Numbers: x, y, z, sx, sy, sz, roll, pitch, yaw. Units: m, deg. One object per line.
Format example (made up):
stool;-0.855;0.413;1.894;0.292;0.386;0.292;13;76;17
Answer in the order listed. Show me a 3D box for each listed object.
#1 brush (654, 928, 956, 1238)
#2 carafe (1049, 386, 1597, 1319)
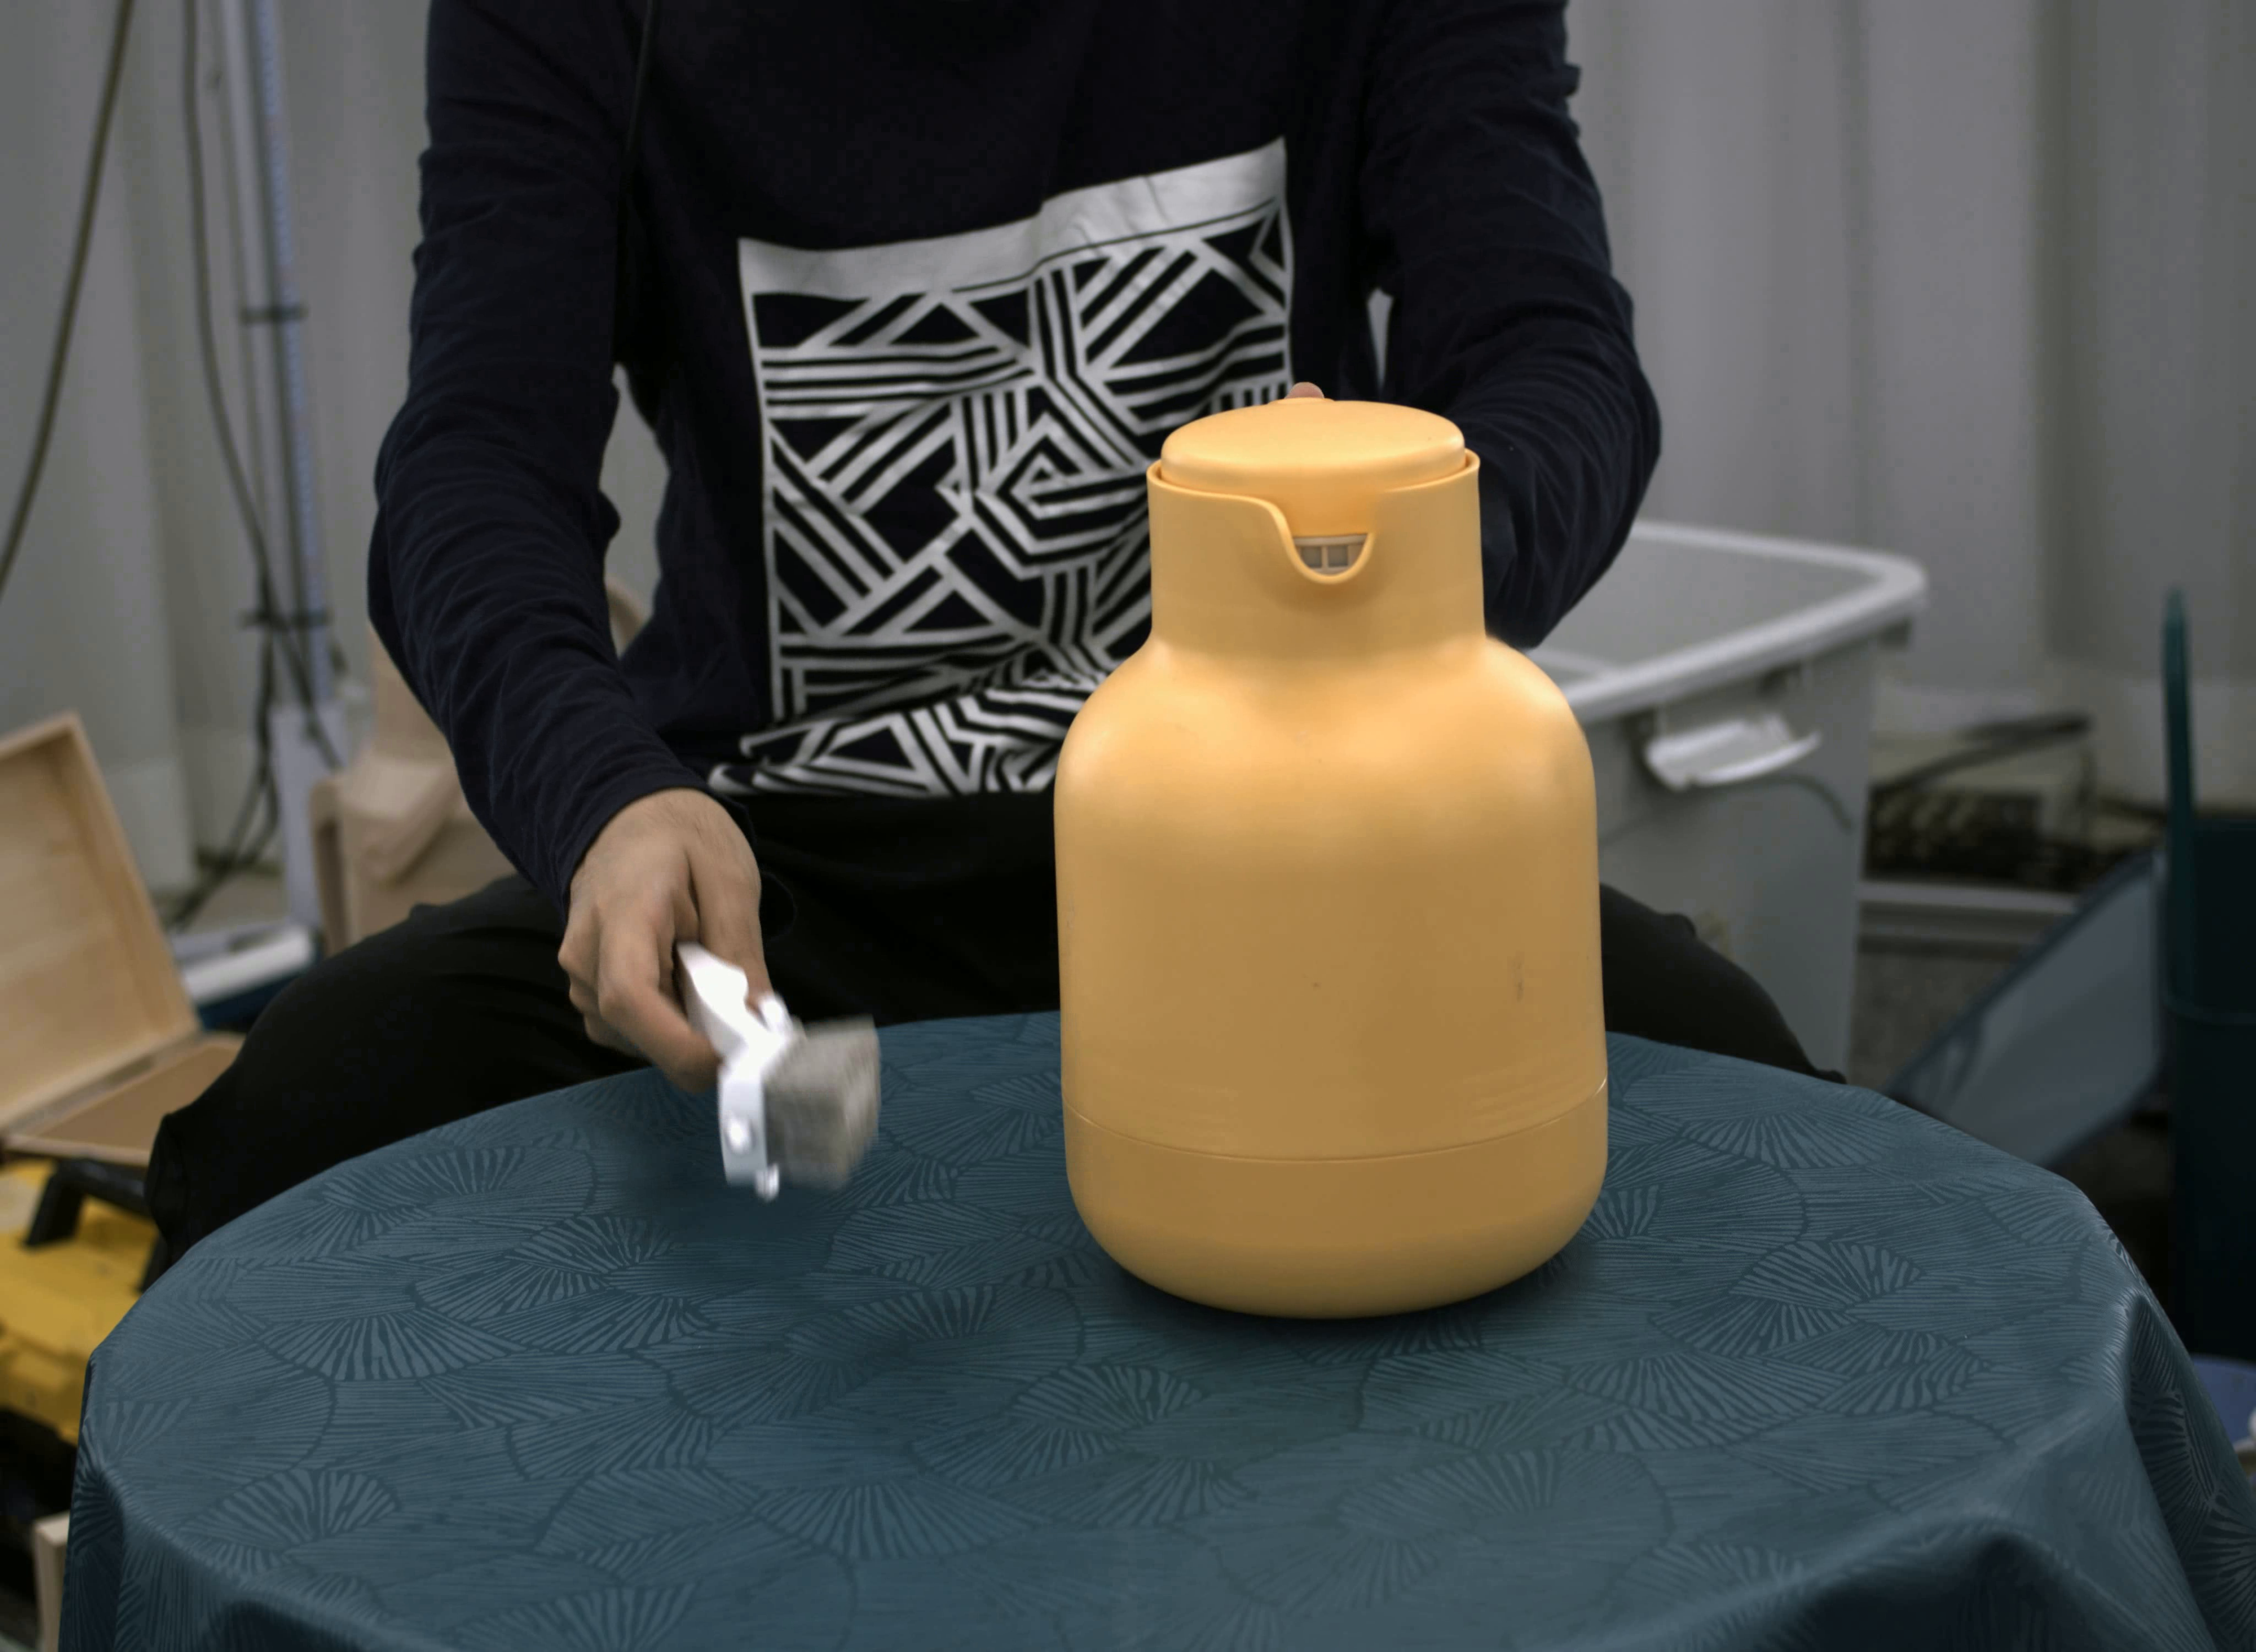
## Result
brush;-0.096;0.074;1.666;0.050;0.034;0.245;4;13;-19
carafe;0.058;-0.001;1.633;0.163;0.259;0.204;0;15;0
